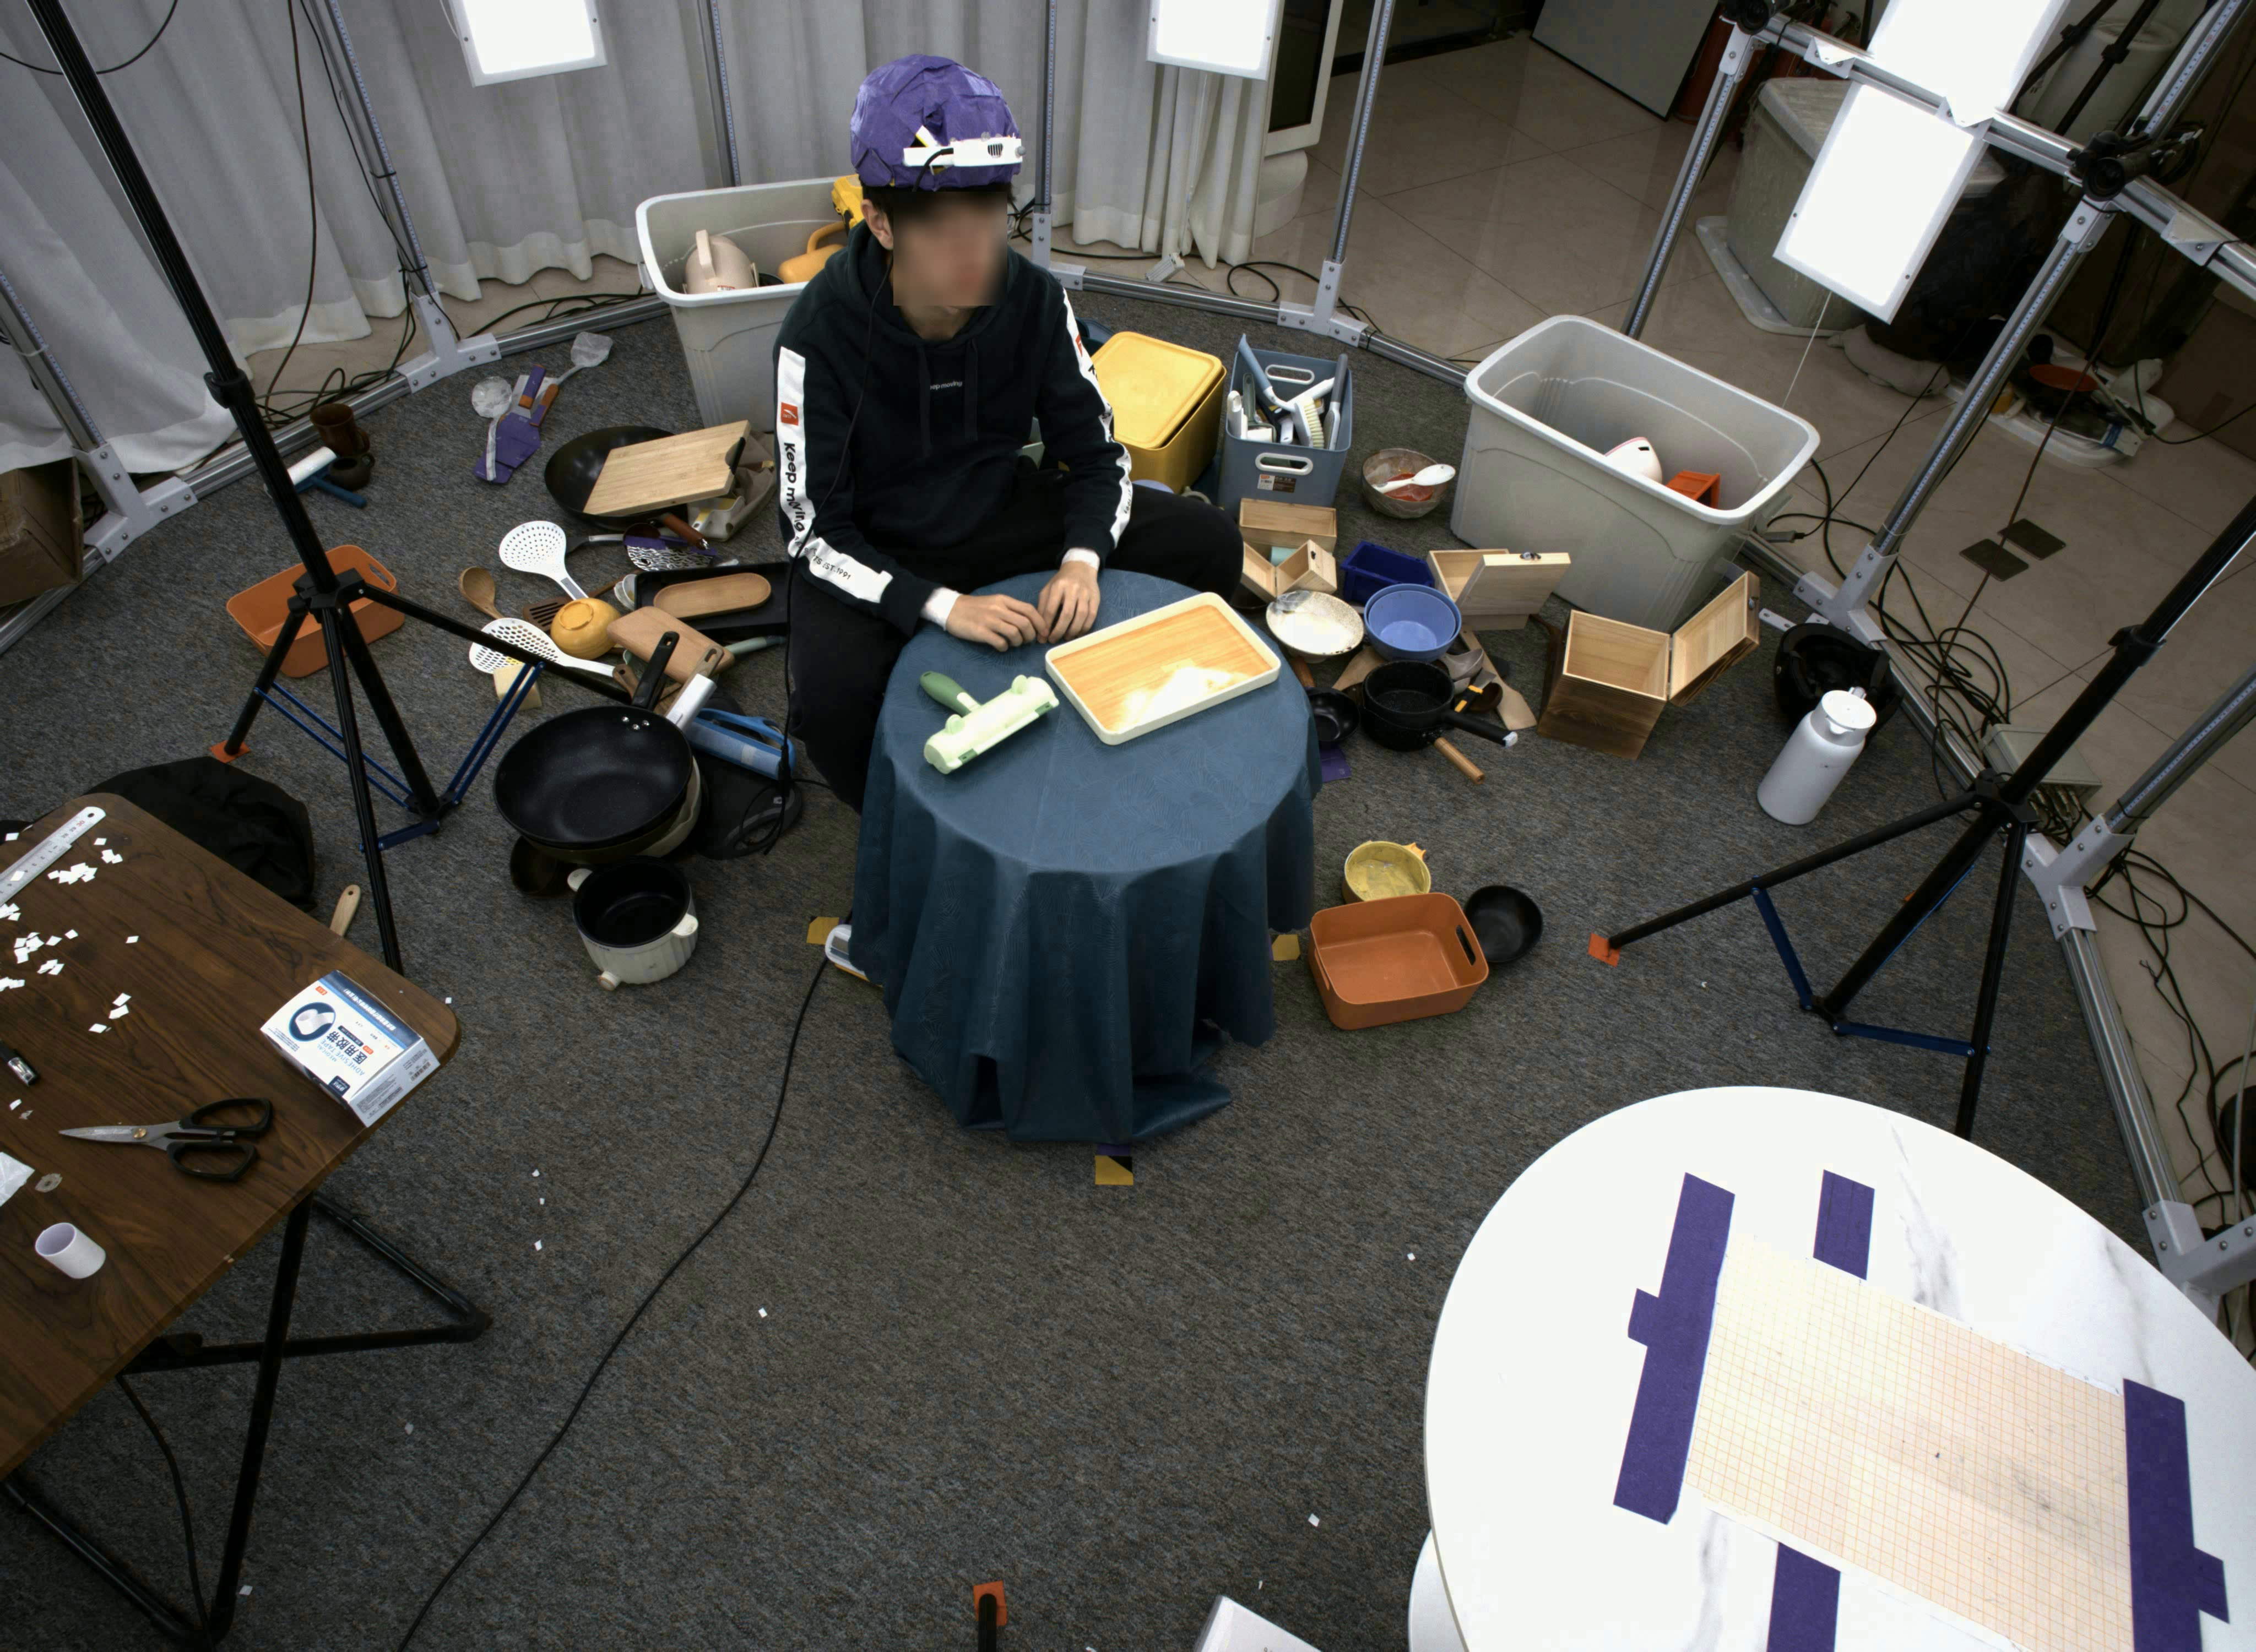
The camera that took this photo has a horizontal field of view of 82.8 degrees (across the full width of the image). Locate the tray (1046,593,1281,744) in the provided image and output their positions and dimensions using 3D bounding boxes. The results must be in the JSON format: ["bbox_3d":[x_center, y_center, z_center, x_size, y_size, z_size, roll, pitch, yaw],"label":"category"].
[{"bbox_3d":[0.051,-0.233,1.856,0.301,0.027,0.195,-23,54,-22],"label":"tray"}]

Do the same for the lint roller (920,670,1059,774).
[{"bbox_3d":[-0.223,-0.177,1.758,0.200,0.080,0.186,-35,63,-29],"label":"lint roller"}]
